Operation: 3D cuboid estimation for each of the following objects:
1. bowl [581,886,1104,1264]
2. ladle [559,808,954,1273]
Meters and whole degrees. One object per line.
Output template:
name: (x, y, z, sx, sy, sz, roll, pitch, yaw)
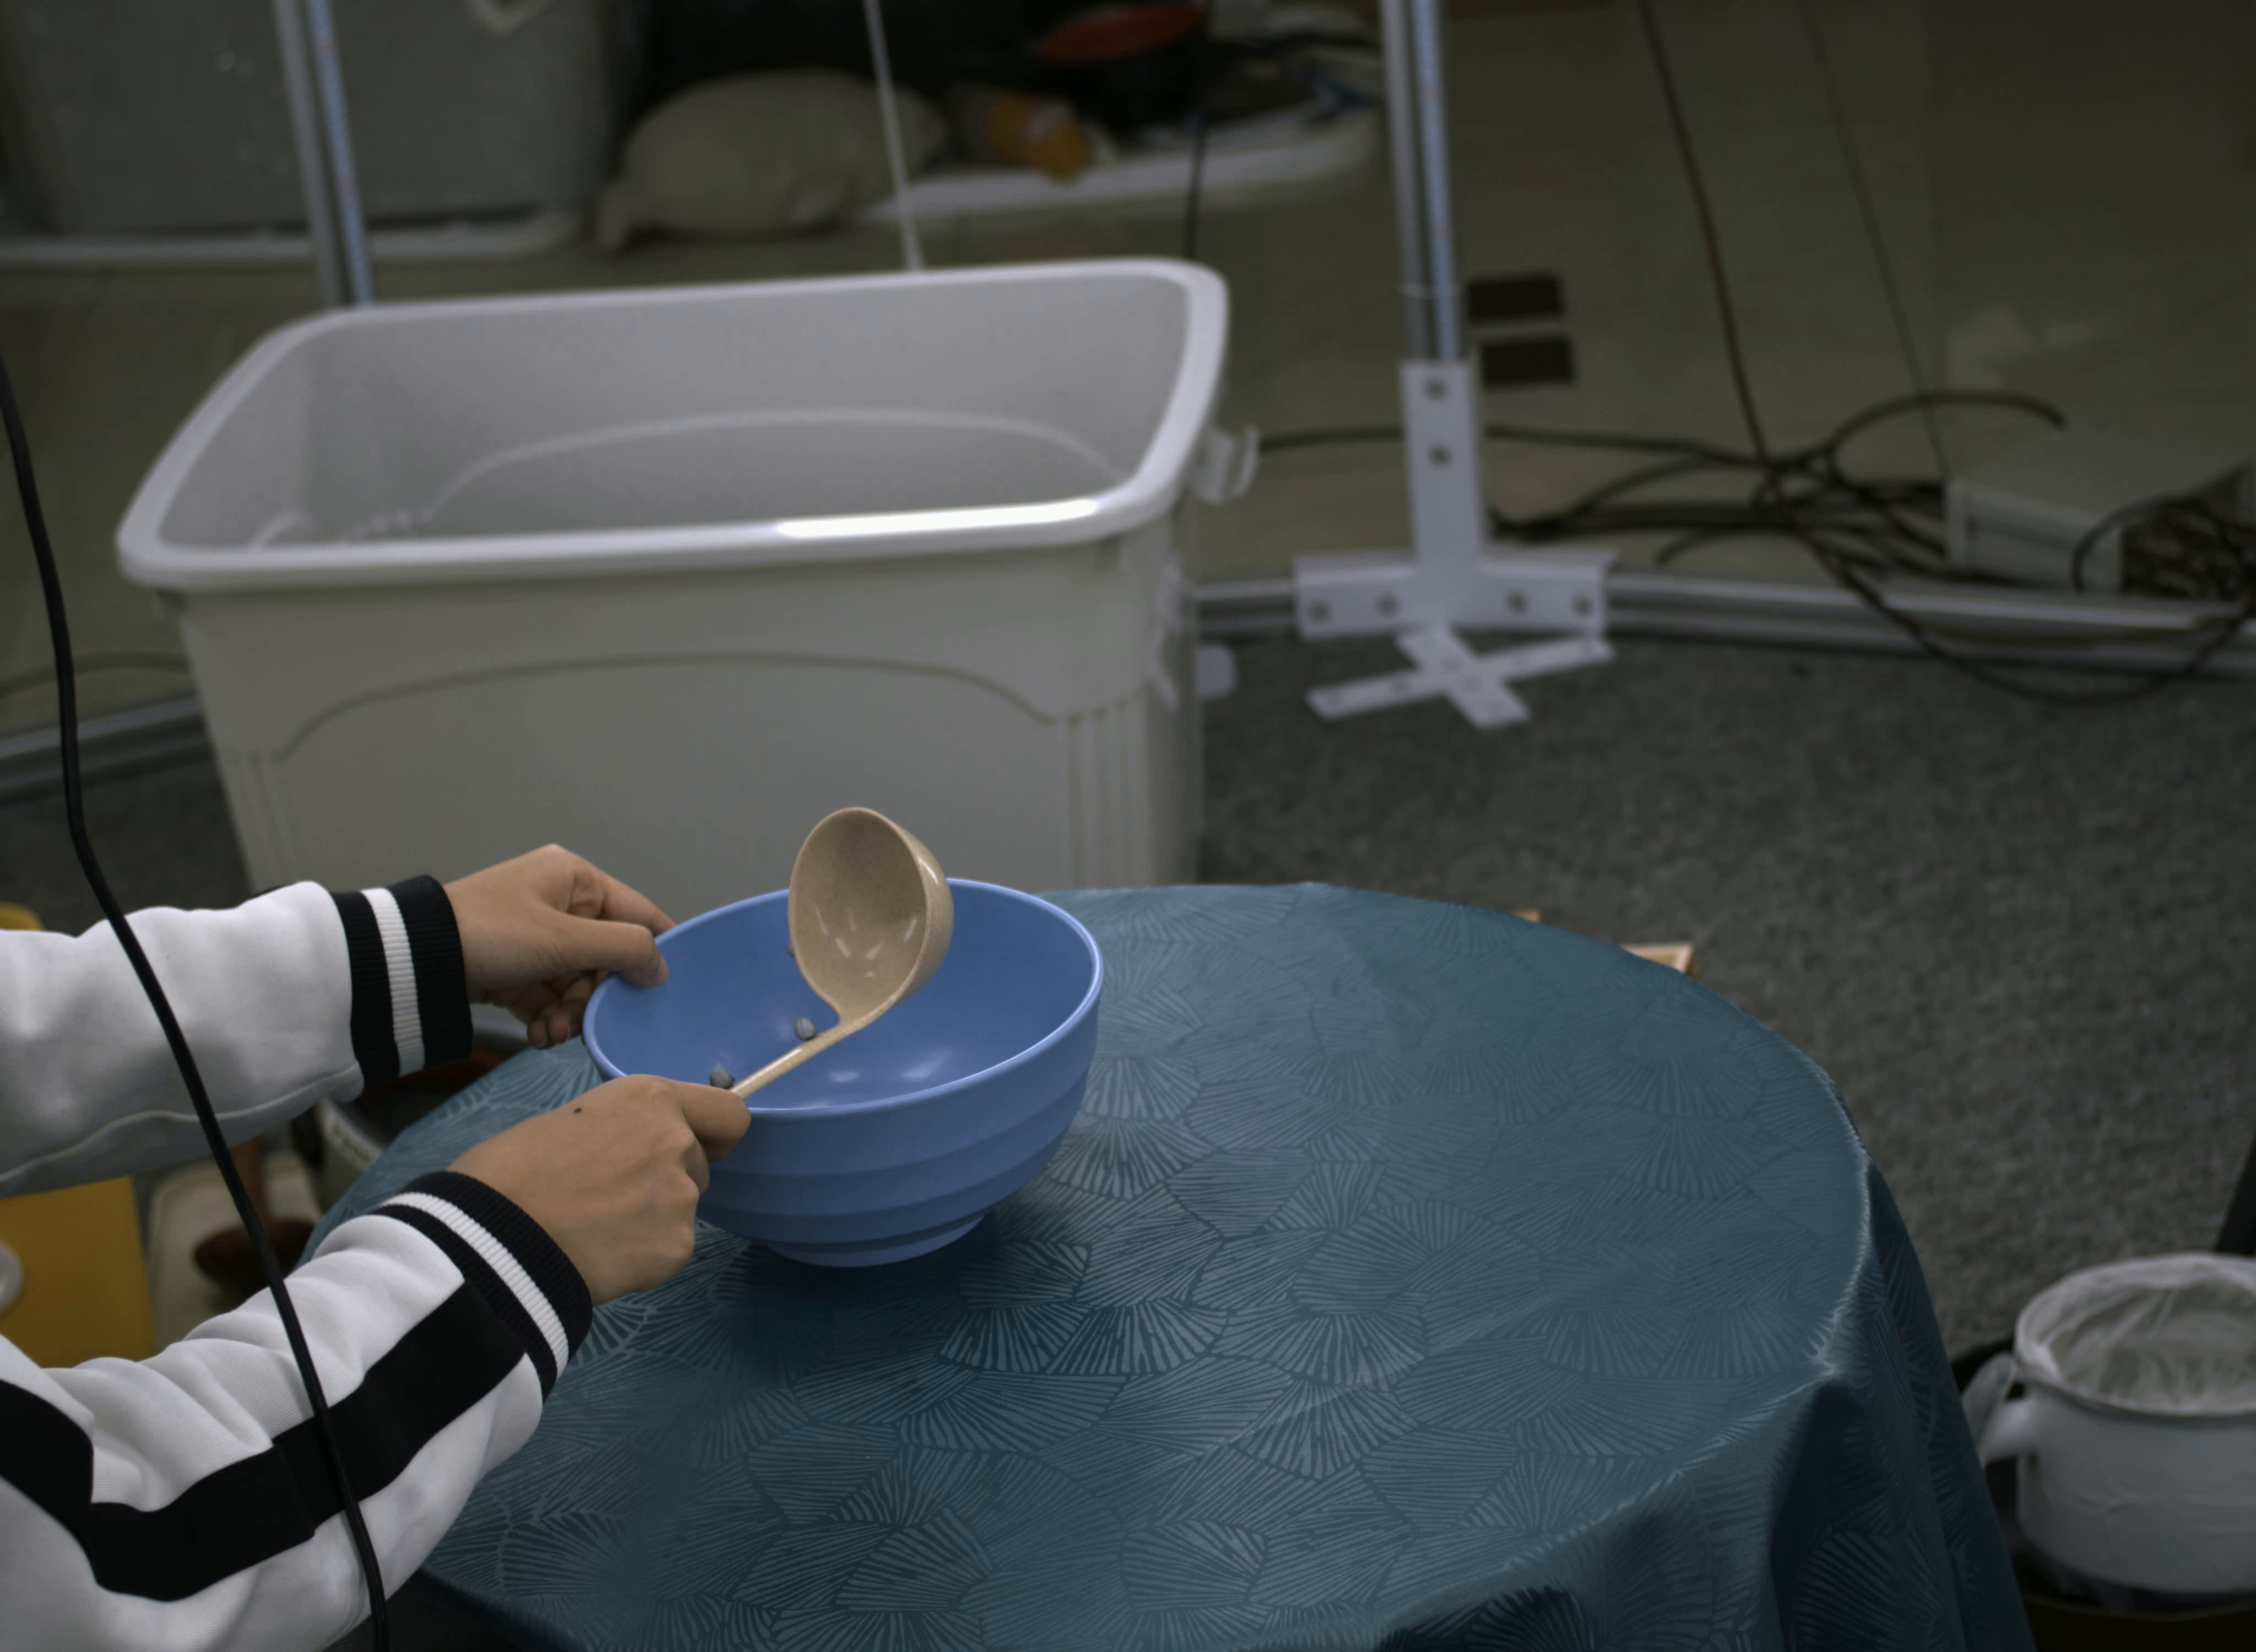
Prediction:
bowl: (-0.103, 0.102, 2.135, 0.196, 0.097, 0.194, -4, 23, 2)
ladle: (-0.146, 0.070, 2.001, 0.072, 0.073, 0.251, -25, 8, 38)
